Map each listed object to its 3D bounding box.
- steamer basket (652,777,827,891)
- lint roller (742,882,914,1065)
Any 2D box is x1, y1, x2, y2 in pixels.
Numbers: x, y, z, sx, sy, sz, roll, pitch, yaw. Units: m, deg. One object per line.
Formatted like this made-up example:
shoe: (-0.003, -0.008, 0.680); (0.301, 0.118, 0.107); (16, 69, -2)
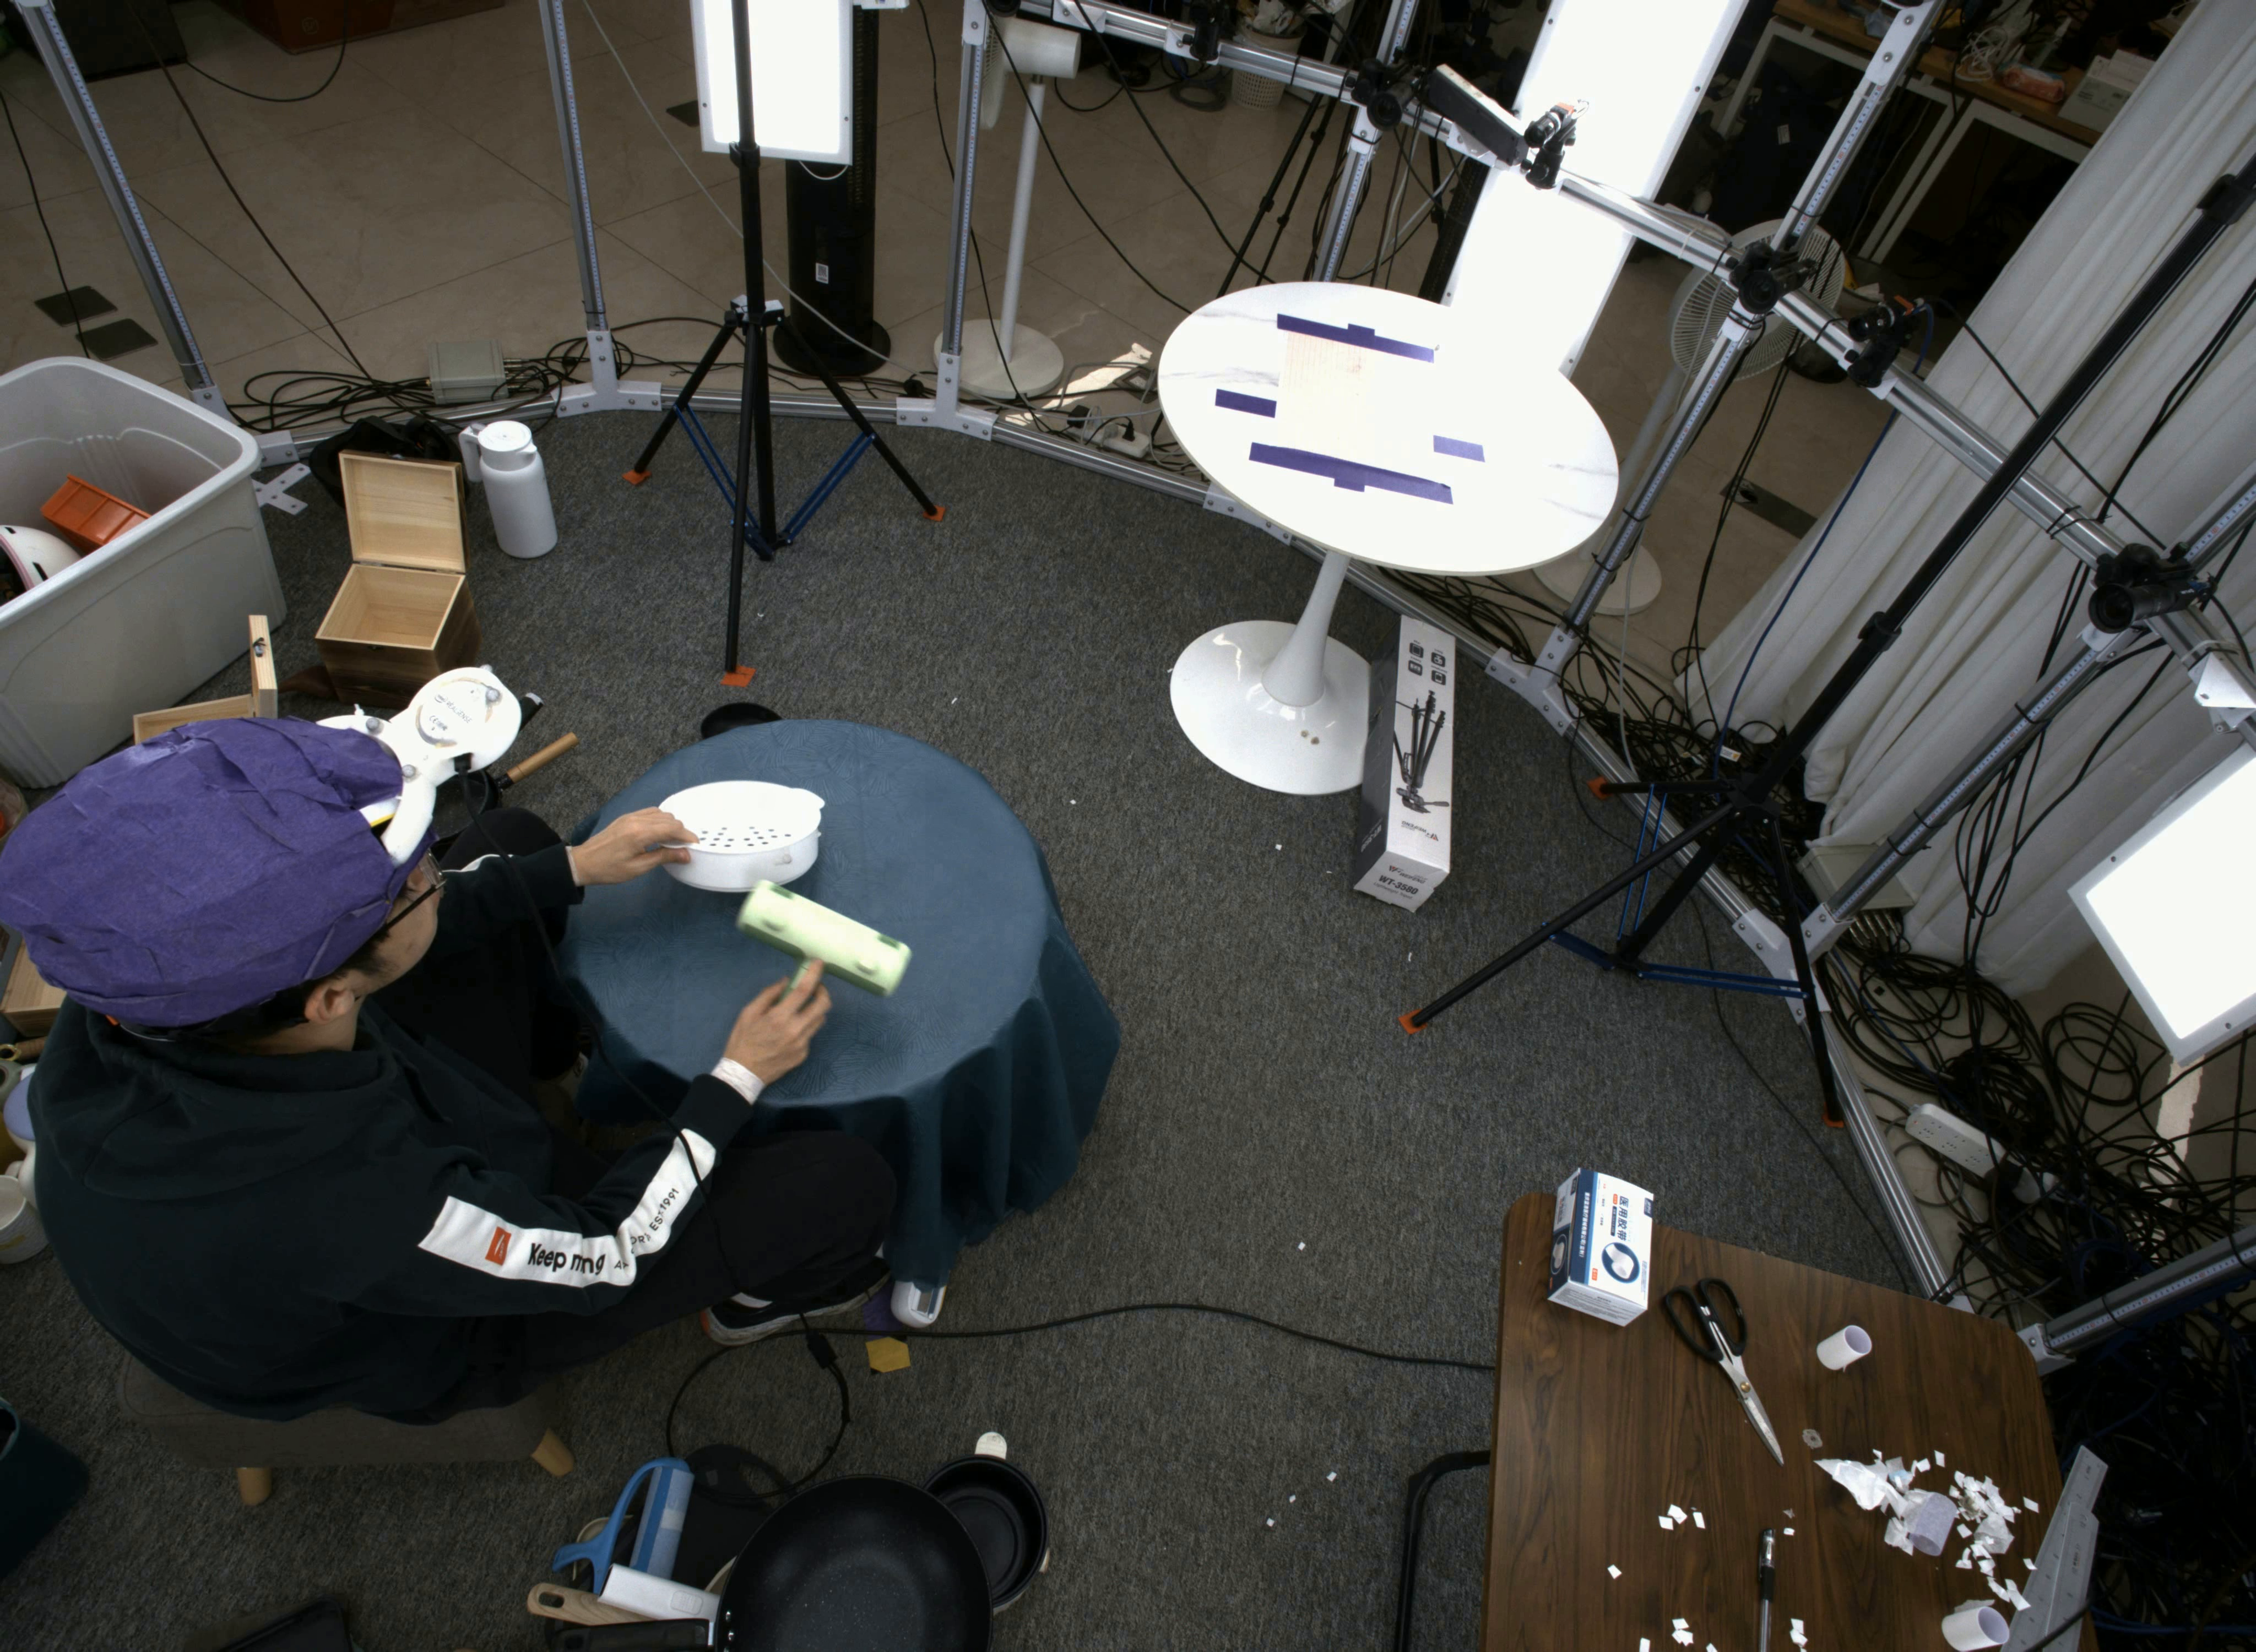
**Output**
steamer basket: (-0.485, 0.009, 1.624); (0.194, 0.071, 0.233); (29, 32, 33)
lint roller: (-0.371, 0.183, 1.492); (0.199, 0.082, 0.183); (28, 68, -9)
